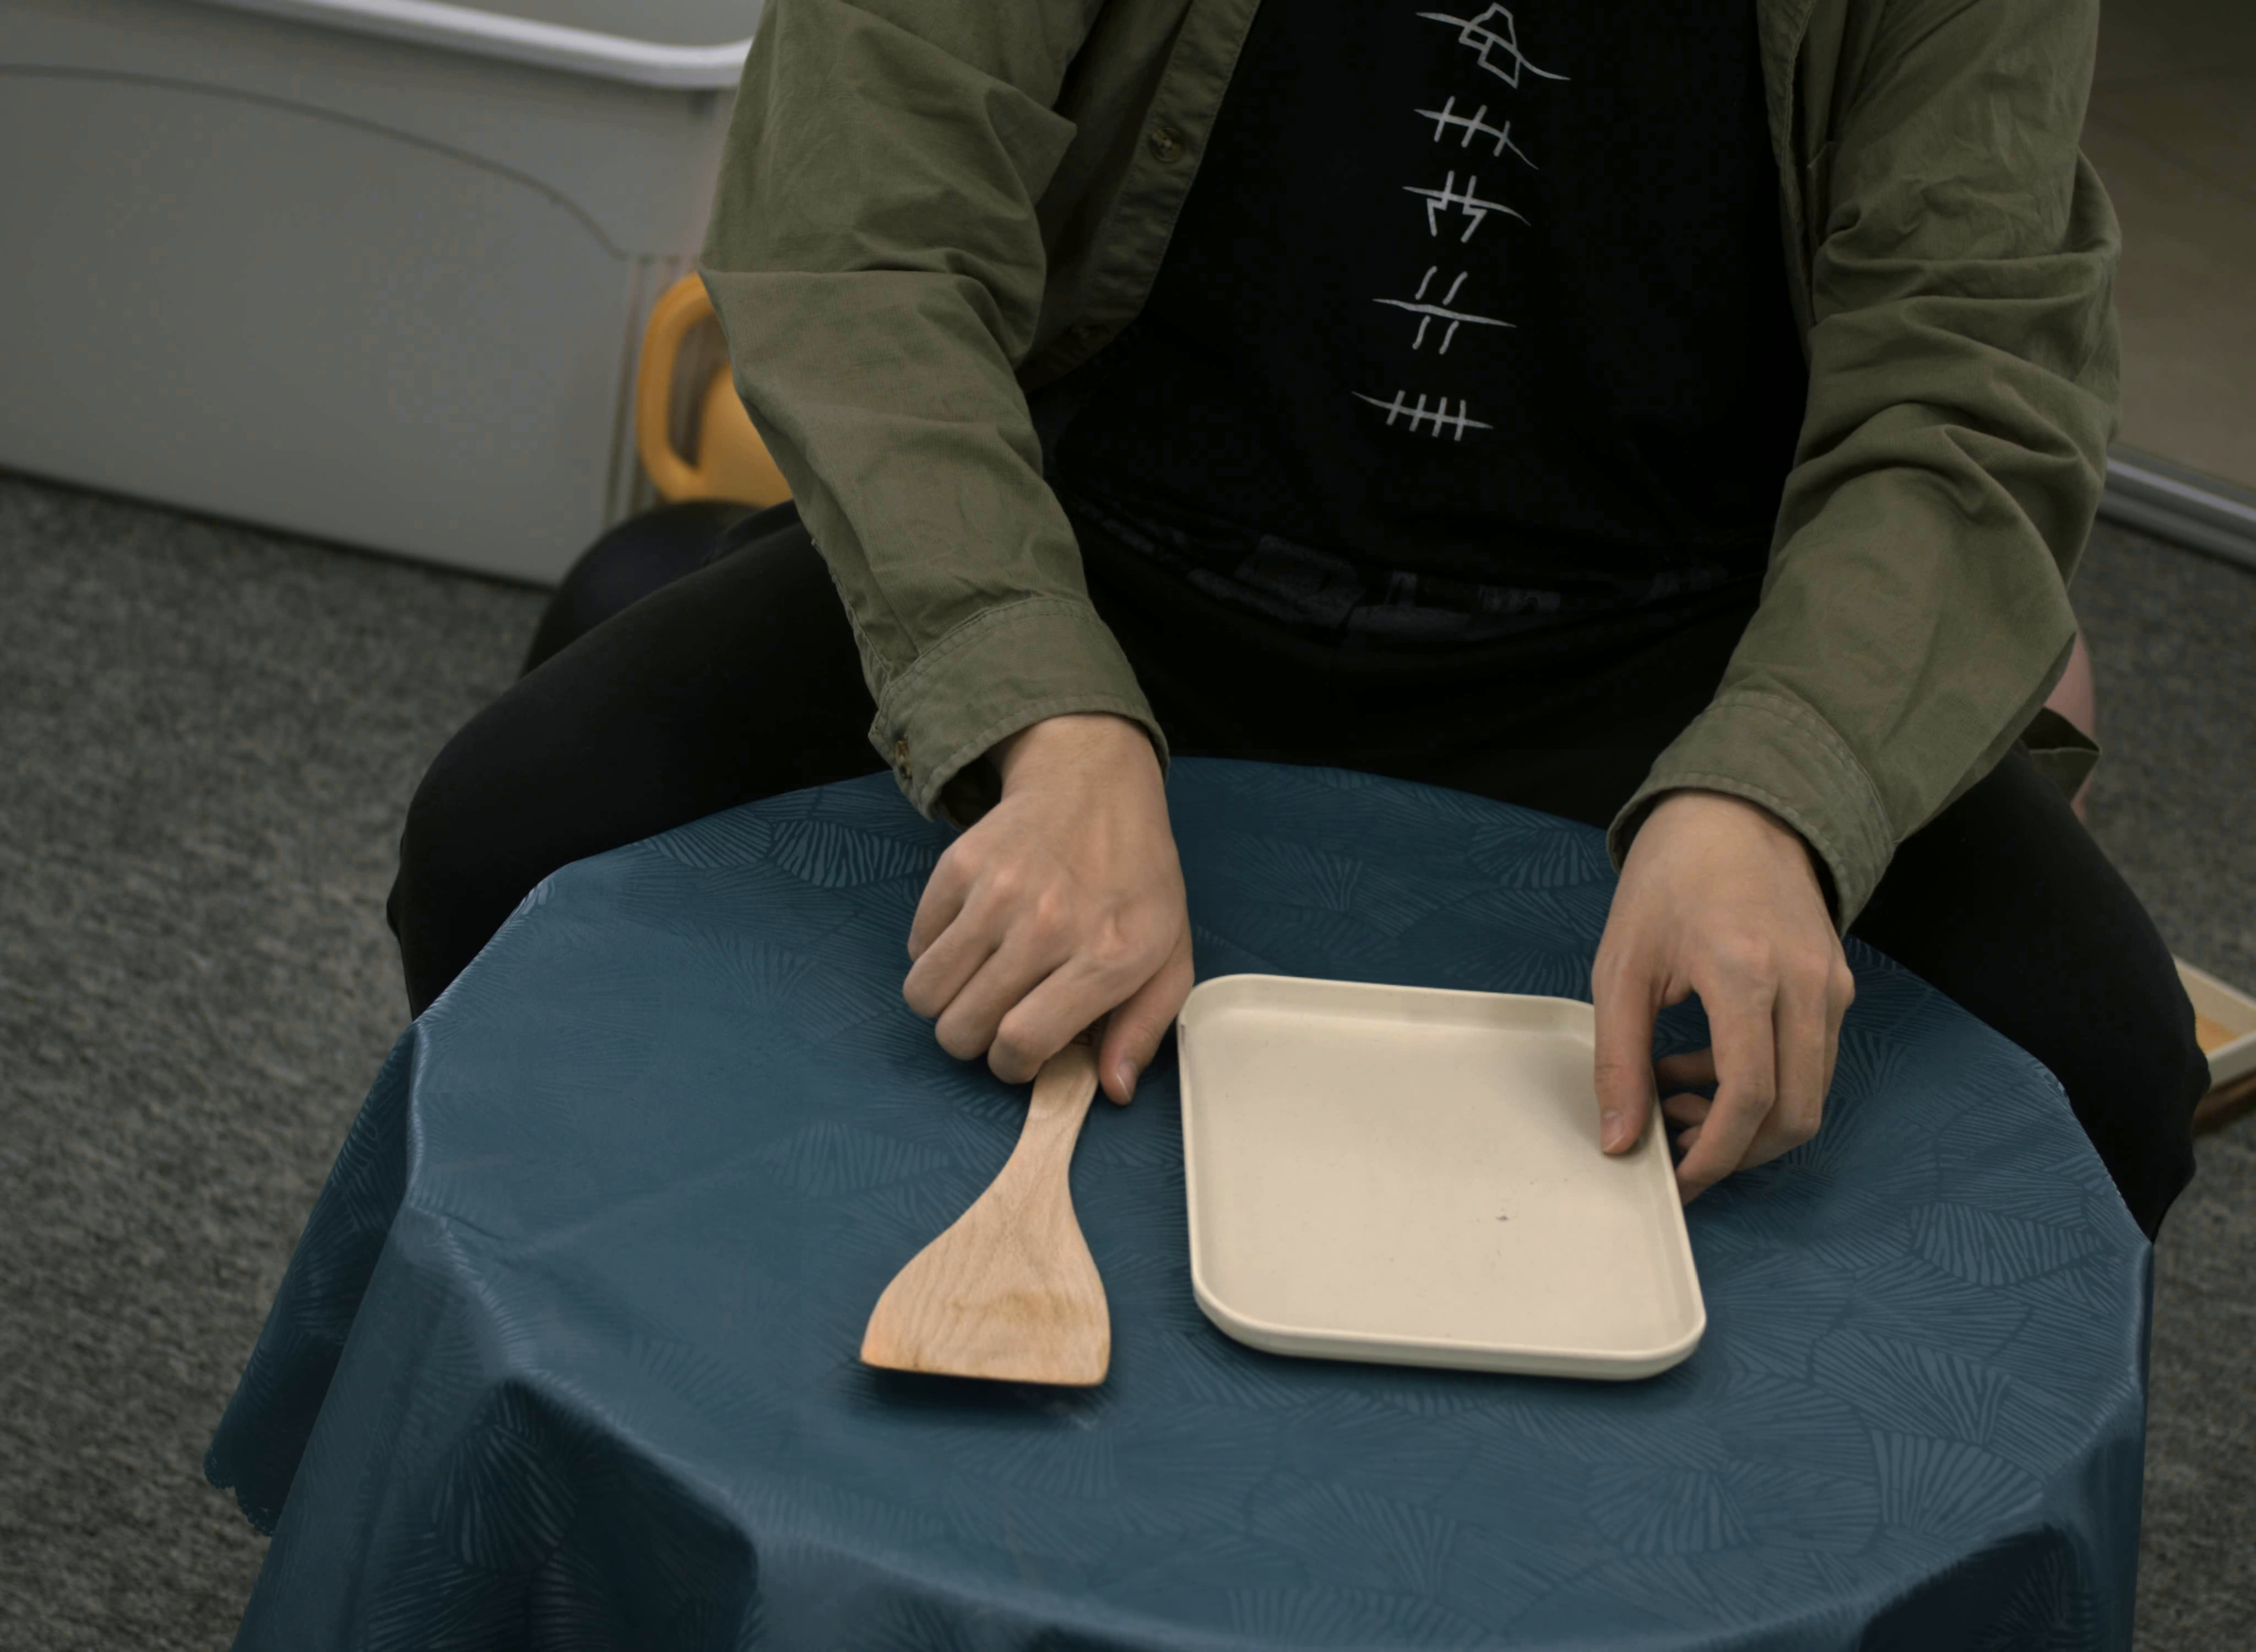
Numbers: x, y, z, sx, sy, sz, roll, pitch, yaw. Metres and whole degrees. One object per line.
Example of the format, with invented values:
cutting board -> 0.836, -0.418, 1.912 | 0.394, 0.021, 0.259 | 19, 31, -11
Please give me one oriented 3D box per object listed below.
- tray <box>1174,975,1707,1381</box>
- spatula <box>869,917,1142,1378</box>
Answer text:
tray -> 0.102, 0.119, 1.811 | 0.170, 0.017, 0.241 | 5, 26, -3
spatula -> -0.025, 0.105, 1.812 | 0.080, 0.016, 0.329 | 9, 27, 4
